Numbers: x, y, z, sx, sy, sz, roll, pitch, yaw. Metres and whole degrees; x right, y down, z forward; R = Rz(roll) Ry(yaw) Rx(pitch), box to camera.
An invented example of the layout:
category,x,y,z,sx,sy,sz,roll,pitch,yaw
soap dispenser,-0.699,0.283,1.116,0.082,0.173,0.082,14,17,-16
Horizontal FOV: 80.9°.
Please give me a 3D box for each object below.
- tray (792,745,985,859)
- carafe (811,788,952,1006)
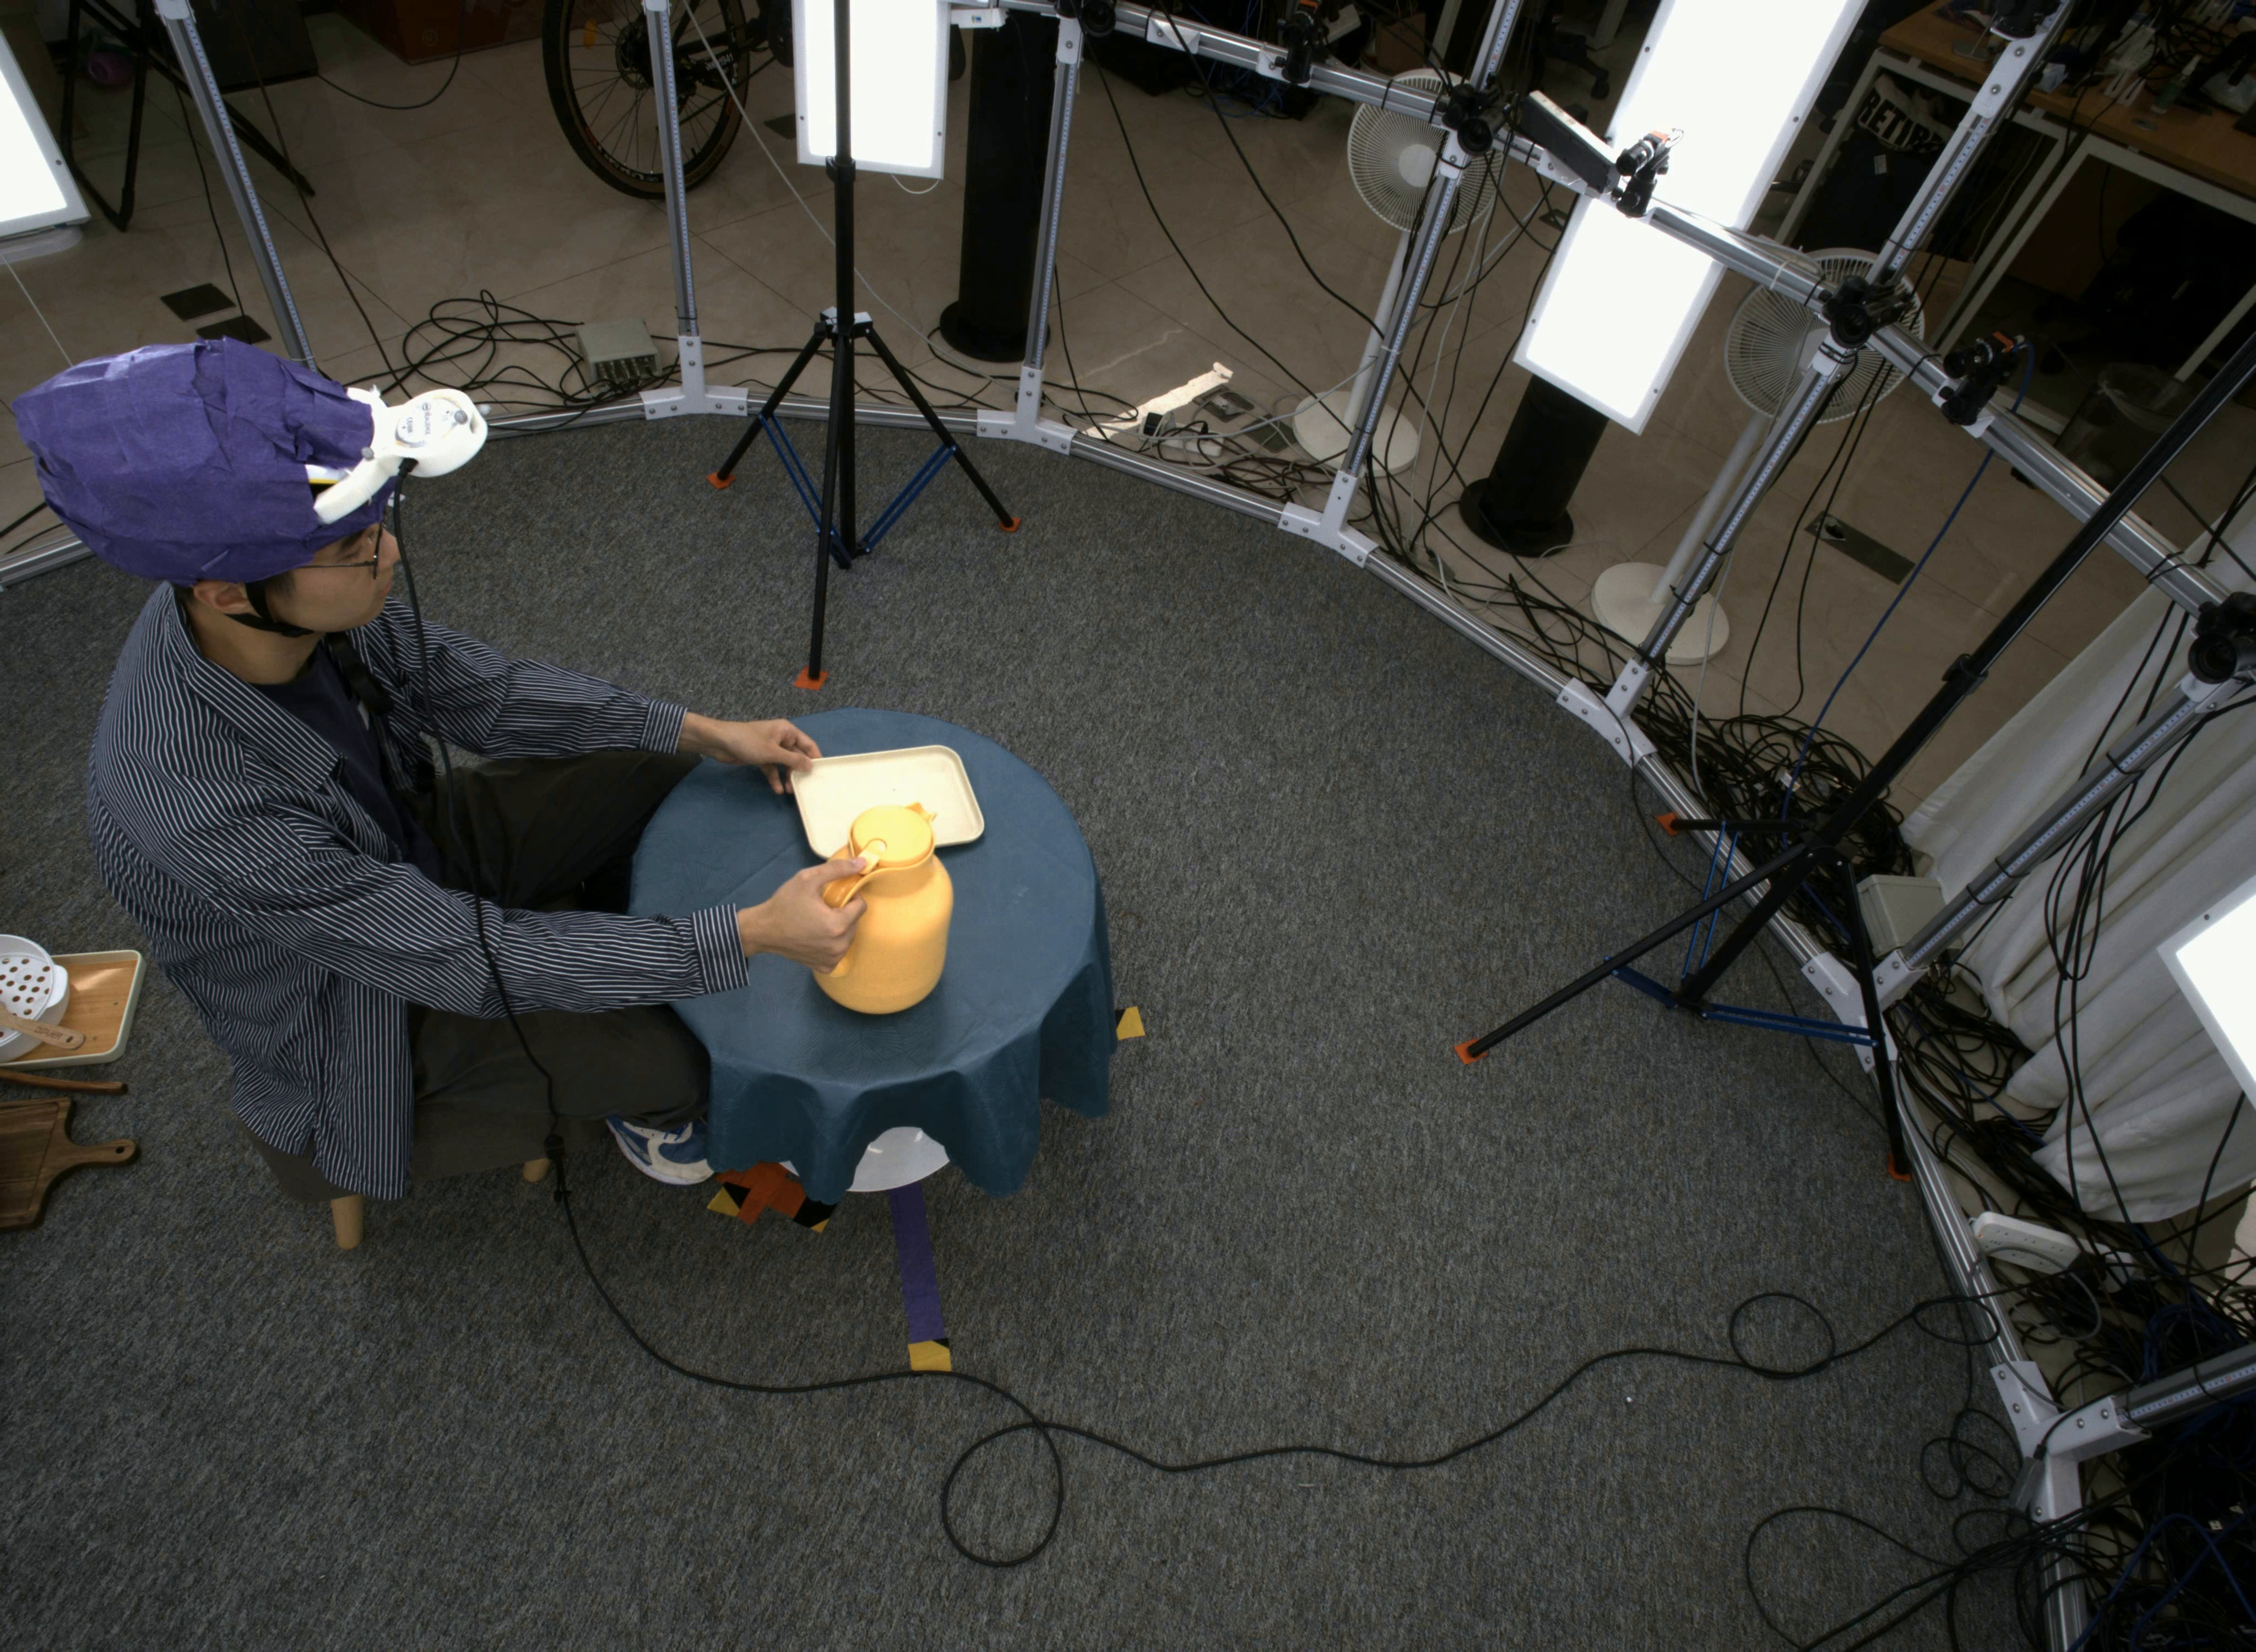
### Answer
category,x,y,z,sx,sy,sz,roll,pitch,yaw
tray,-0.324,-0.031,1.761,0.241,0.018,0.167,-9,57,-26
carafe,-0.300,0.090,1.528,0.160,0.266,0.201,26,44,11
